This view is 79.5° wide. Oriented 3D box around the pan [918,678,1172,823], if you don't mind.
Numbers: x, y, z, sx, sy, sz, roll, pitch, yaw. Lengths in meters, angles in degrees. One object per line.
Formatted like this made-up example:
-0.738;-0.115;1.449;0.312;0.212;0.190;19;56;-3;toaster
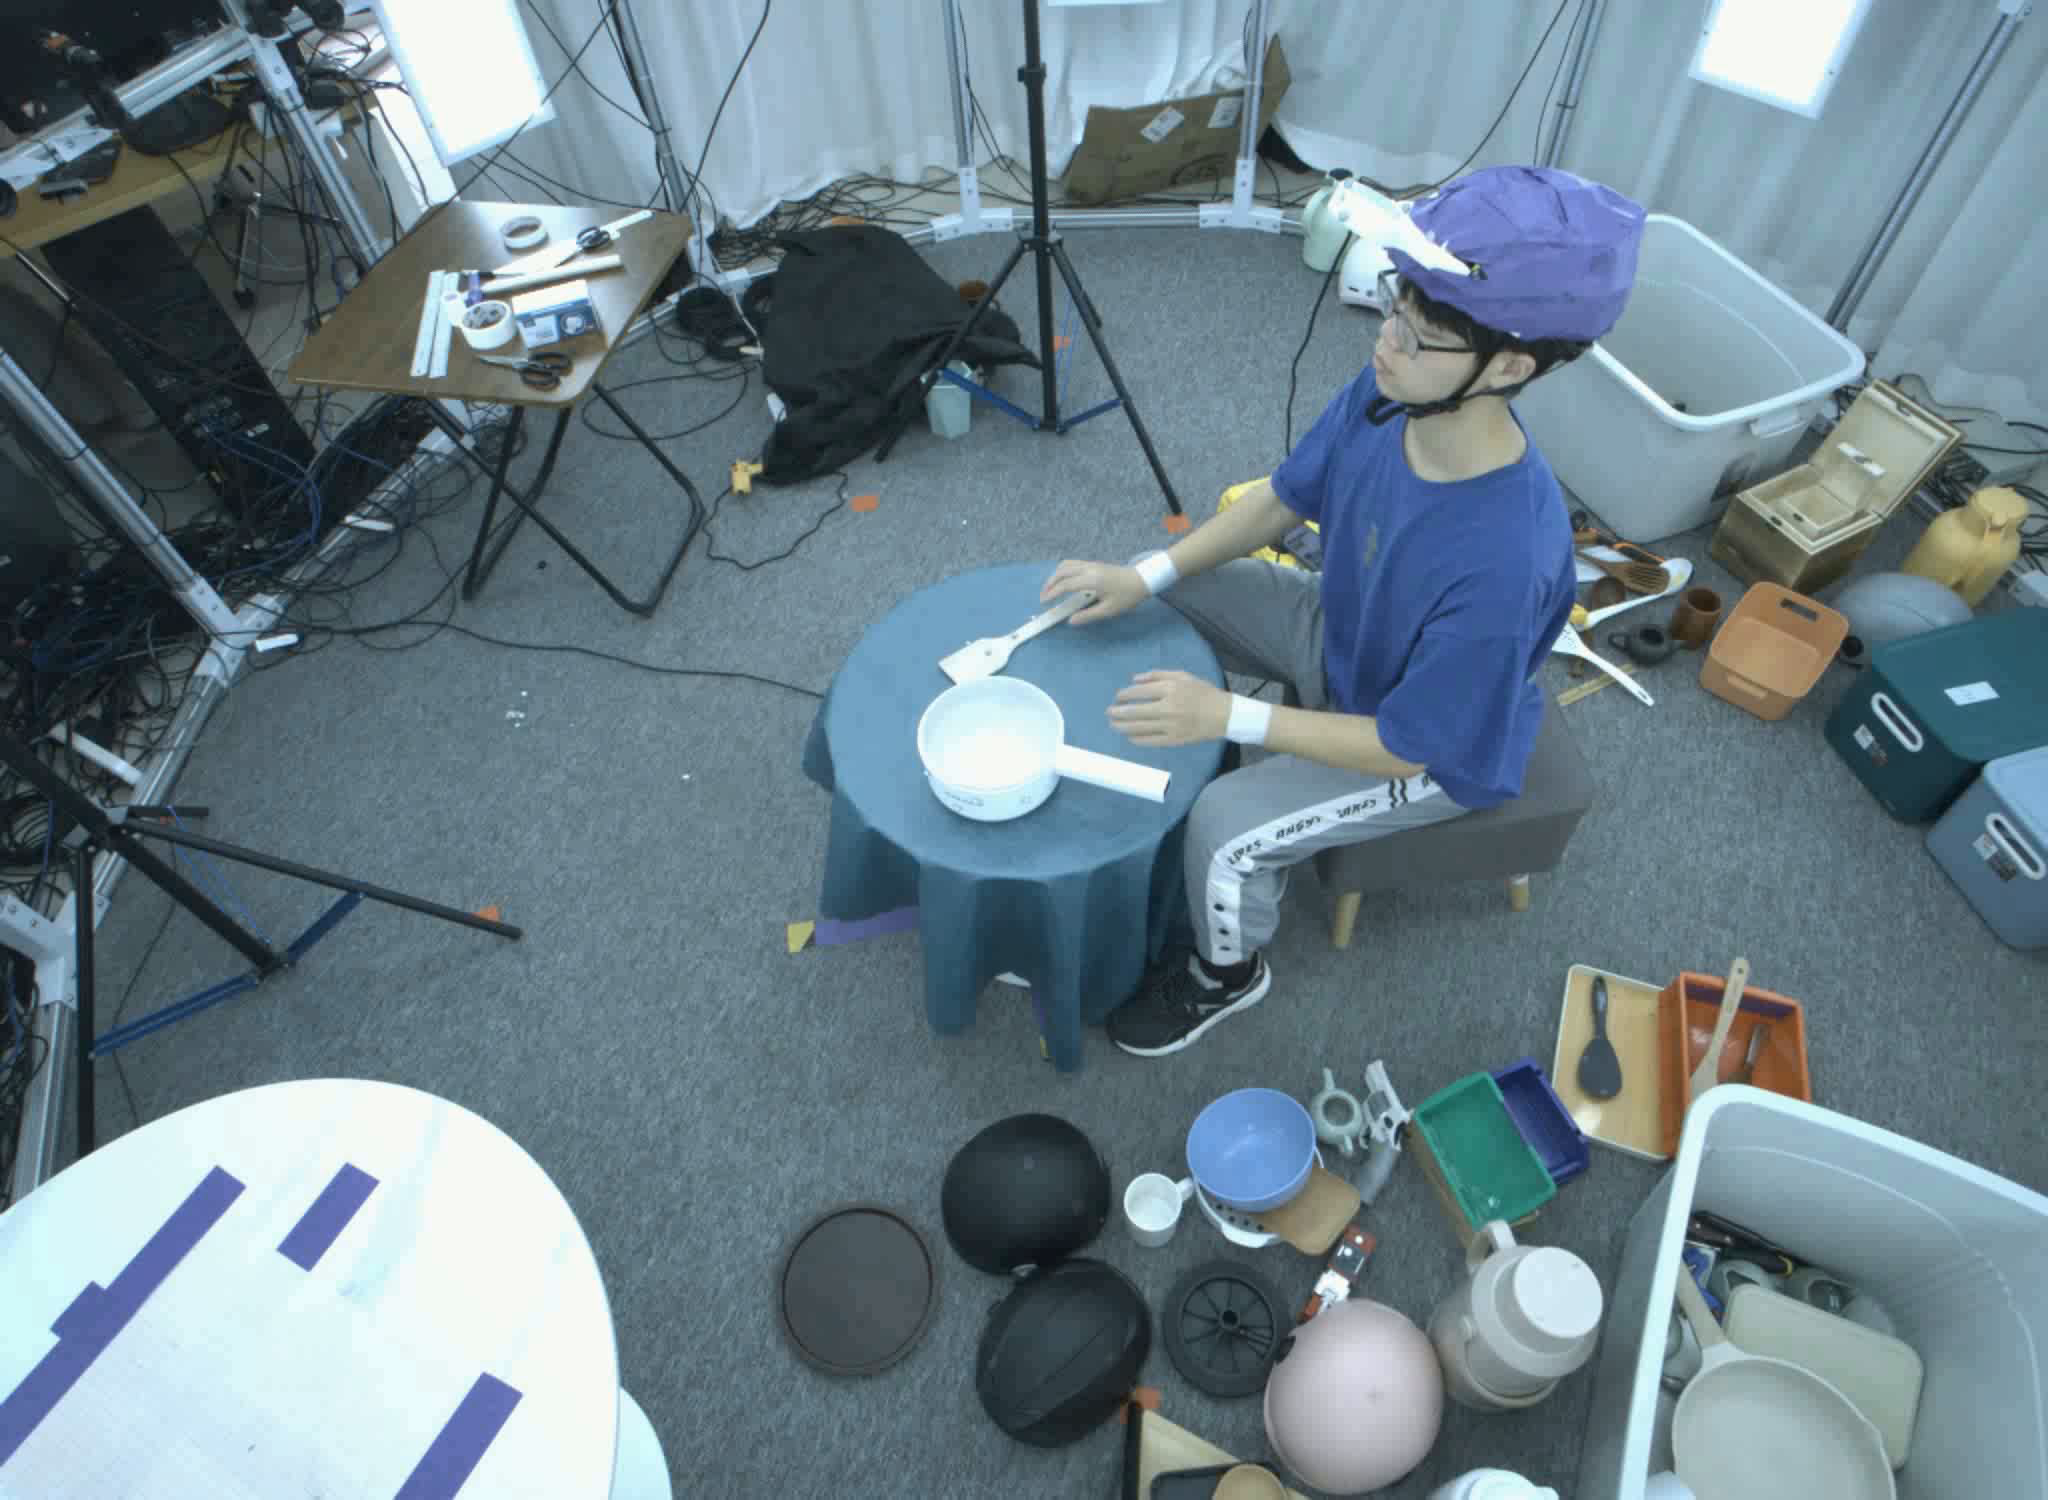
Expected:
0.029;0.025;1.698;0.351;0.103;0.201;15;55;13;pan

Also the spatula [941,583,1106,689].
0.007;-0.185;1.904;0.295;0.011;0.071;-33;58;-19;spatula
